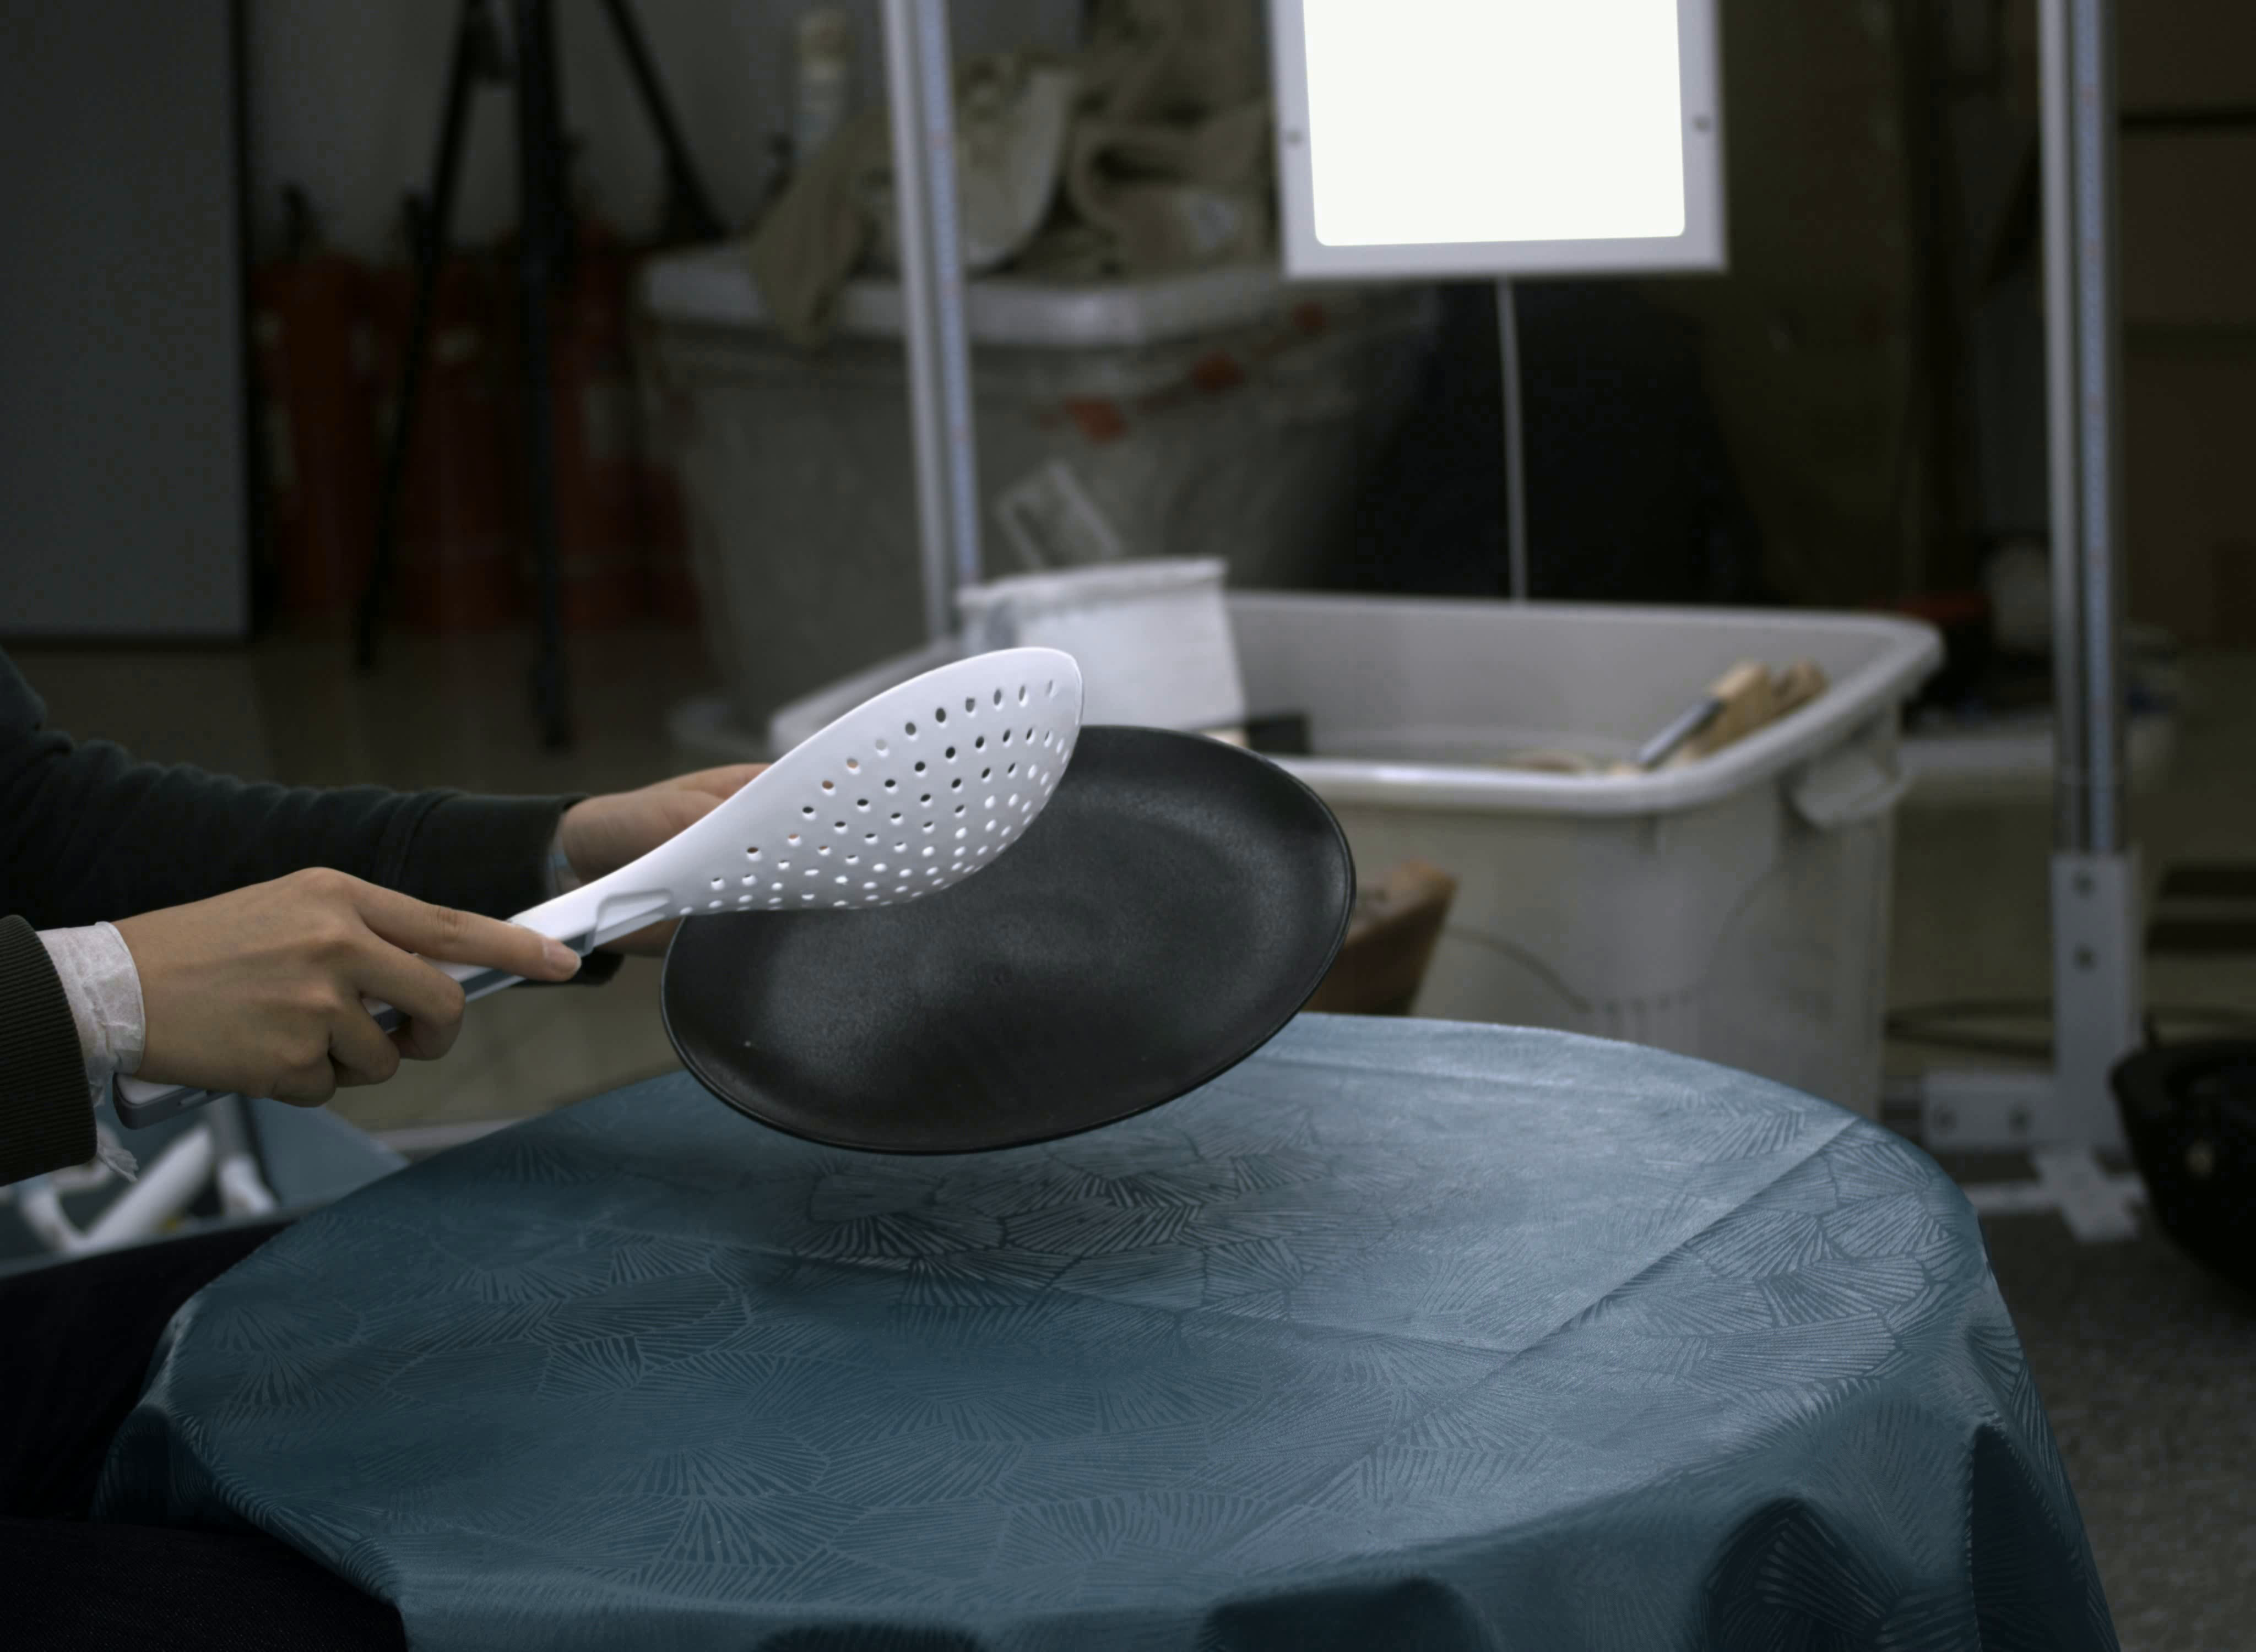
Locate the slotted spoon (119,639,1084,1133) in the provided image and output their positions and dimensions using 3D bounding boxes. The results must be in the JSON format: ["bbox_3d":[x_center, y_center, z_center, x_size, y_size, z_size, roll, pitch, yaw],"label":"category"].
[{"bbox_3d":[-0.165,0.025,1.799,0.344,0.046,0.137,-18,-23,-15],"label":"slotted spoon"}]

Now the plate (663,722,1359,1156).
[{"bbox_3d":[-0.039,0.043,1.888,0.245,0.023,0.244,-10,34,6],"label":"plate"}]
